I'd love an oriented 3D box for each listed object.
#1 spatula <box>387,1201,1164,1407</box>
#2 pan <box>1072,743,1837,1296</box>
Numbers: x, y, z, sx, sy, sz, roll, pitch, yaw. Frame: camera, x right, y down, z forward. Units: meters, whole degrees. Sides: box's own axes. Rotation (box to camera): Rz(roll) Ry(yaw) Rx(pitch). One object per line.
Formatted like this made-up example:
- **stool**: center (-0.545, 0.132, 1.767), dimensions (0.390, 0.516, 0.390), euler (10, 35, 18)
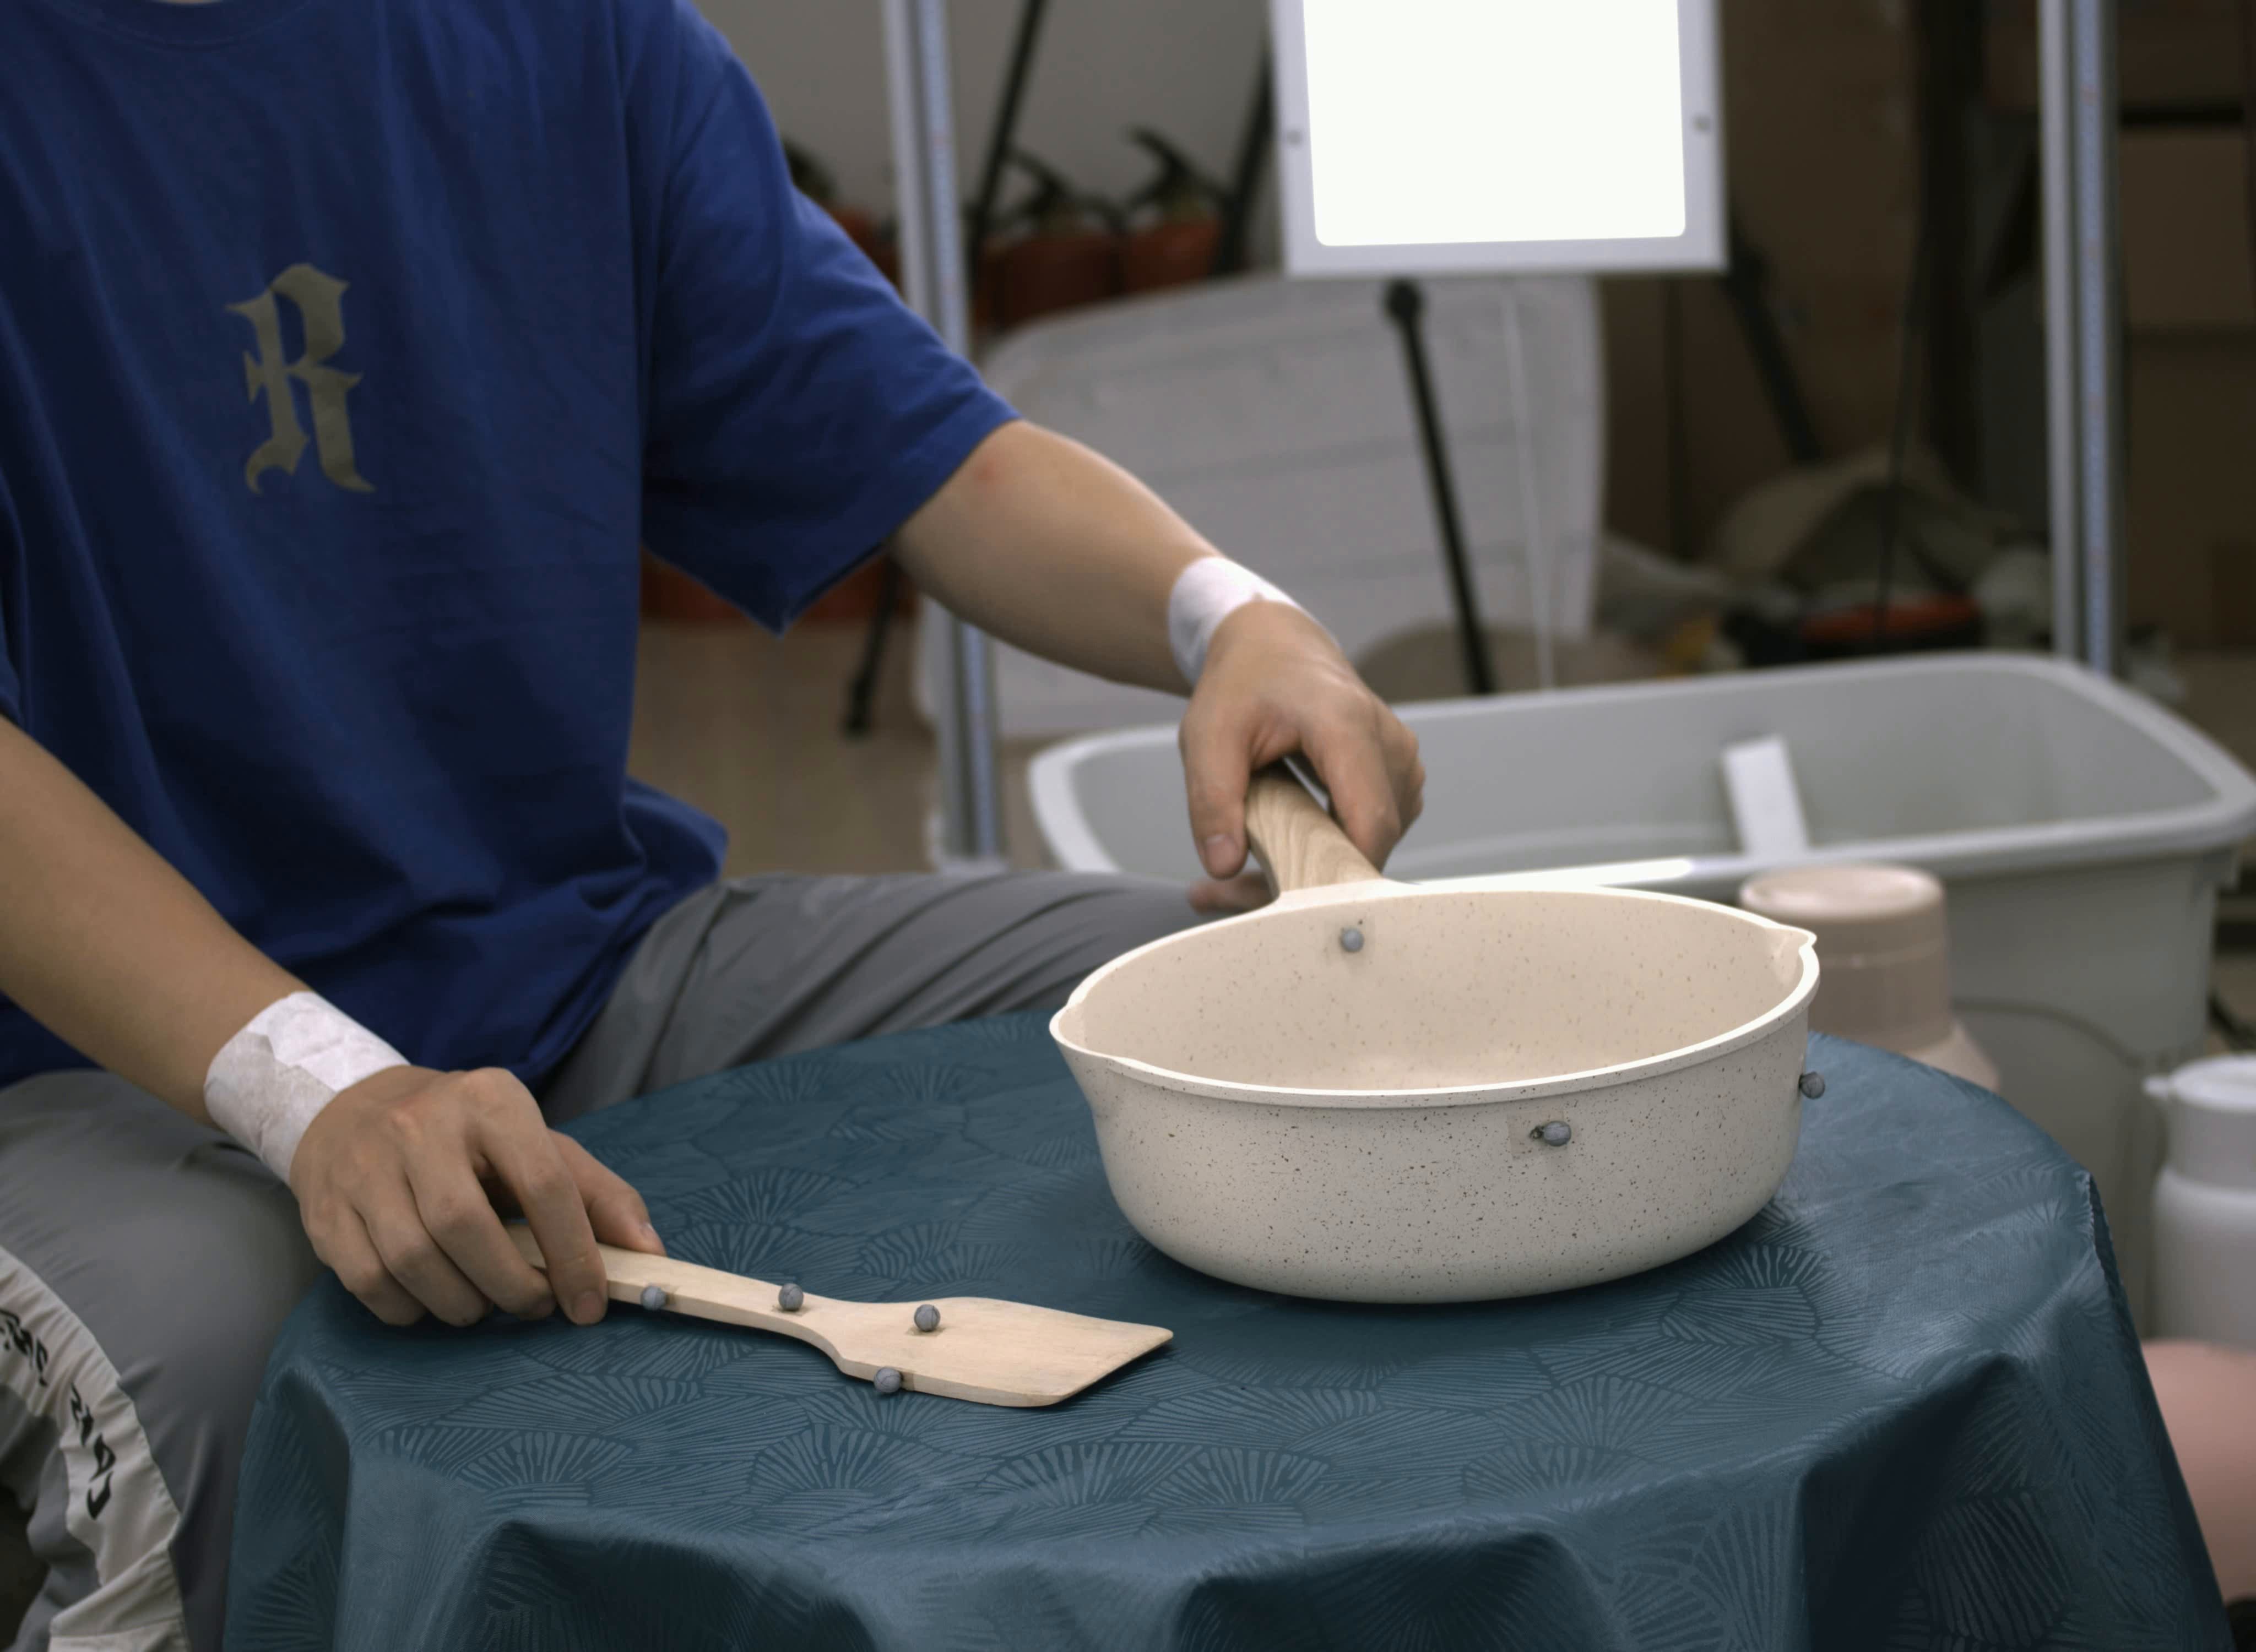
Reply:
- **spatula**: center (-0.126, 0.153, 1.797), dimensions (0.299, 0.011, 0.070), euler (9, 20, 34)
- **pan**: center (0.091, 0.062, 1.918), dimensions (0.260, 0.102, 0.438), euler (-10, 14, -11)
